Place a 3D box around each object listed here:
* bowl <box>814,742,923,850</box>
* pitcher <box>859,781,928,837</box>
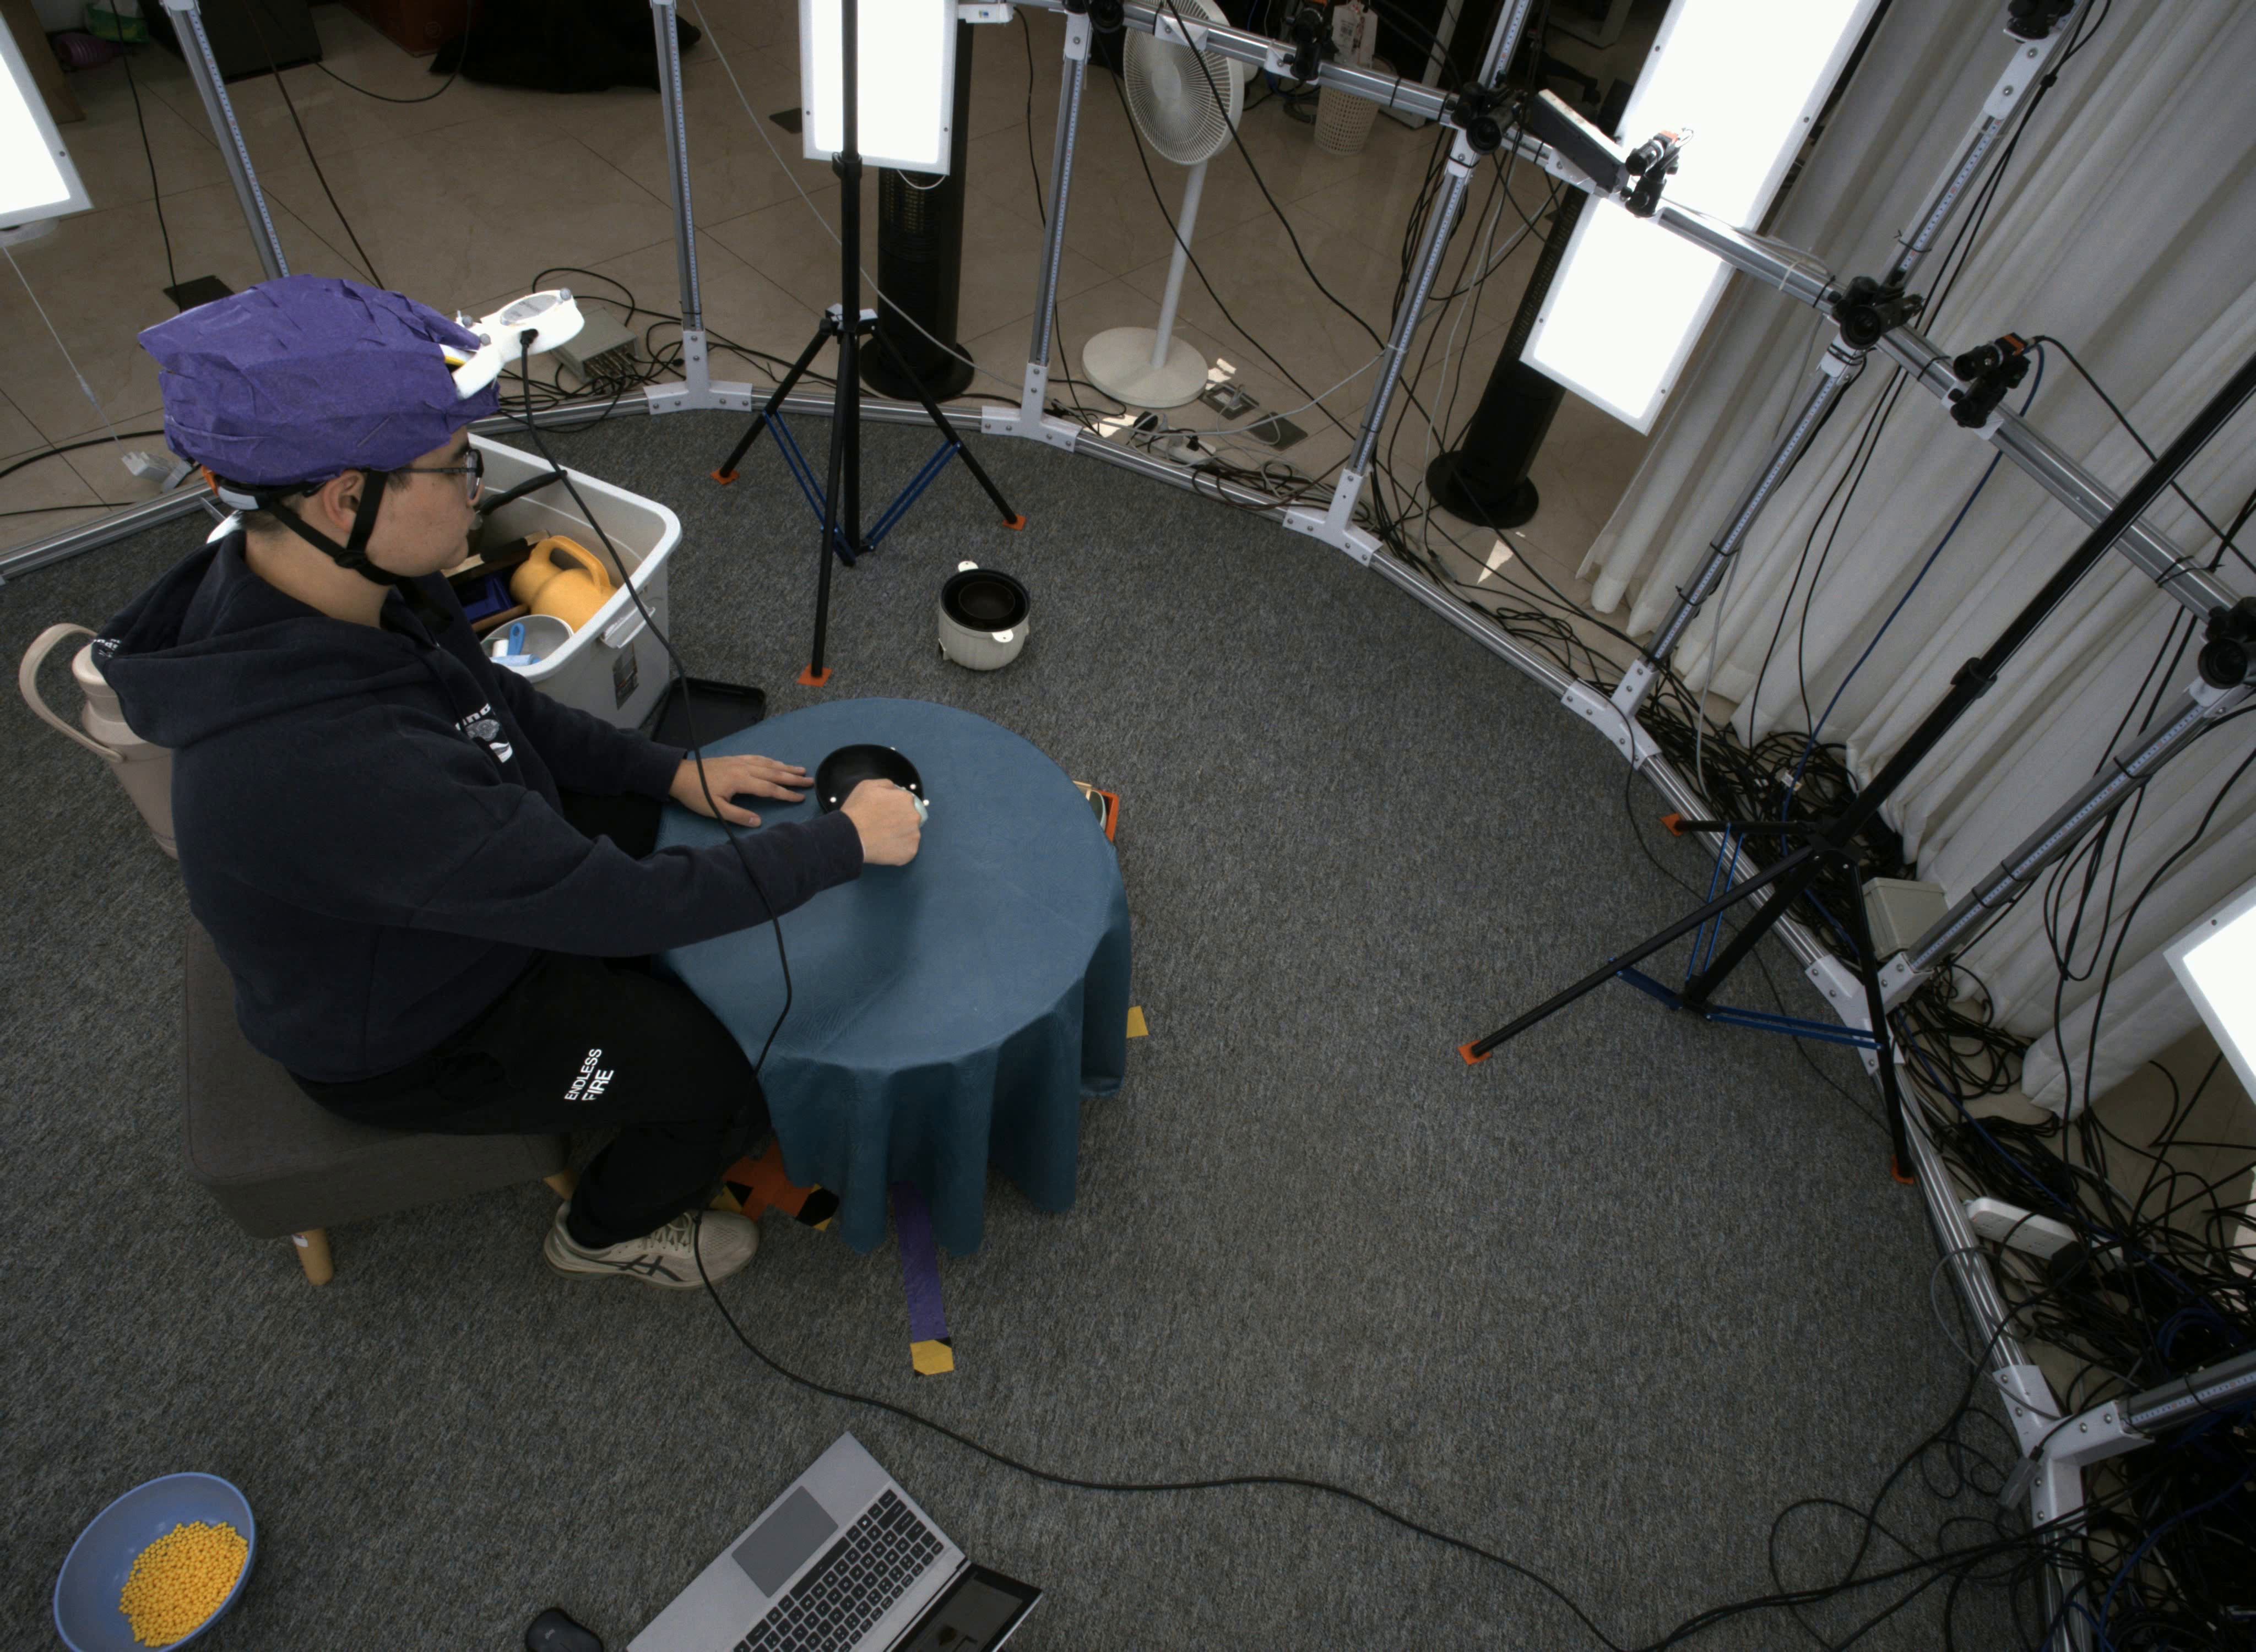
[{"bbox_3d":[-0.342,-0.032,1.724,0.138,0.068,0.166,-19,61,-25],"label":"bowl"},{"bbox_3d":[-0.290,-0.019,1.614,0.086,0.062,0.105,-7,17,-17],"label":"pitcher"}]
